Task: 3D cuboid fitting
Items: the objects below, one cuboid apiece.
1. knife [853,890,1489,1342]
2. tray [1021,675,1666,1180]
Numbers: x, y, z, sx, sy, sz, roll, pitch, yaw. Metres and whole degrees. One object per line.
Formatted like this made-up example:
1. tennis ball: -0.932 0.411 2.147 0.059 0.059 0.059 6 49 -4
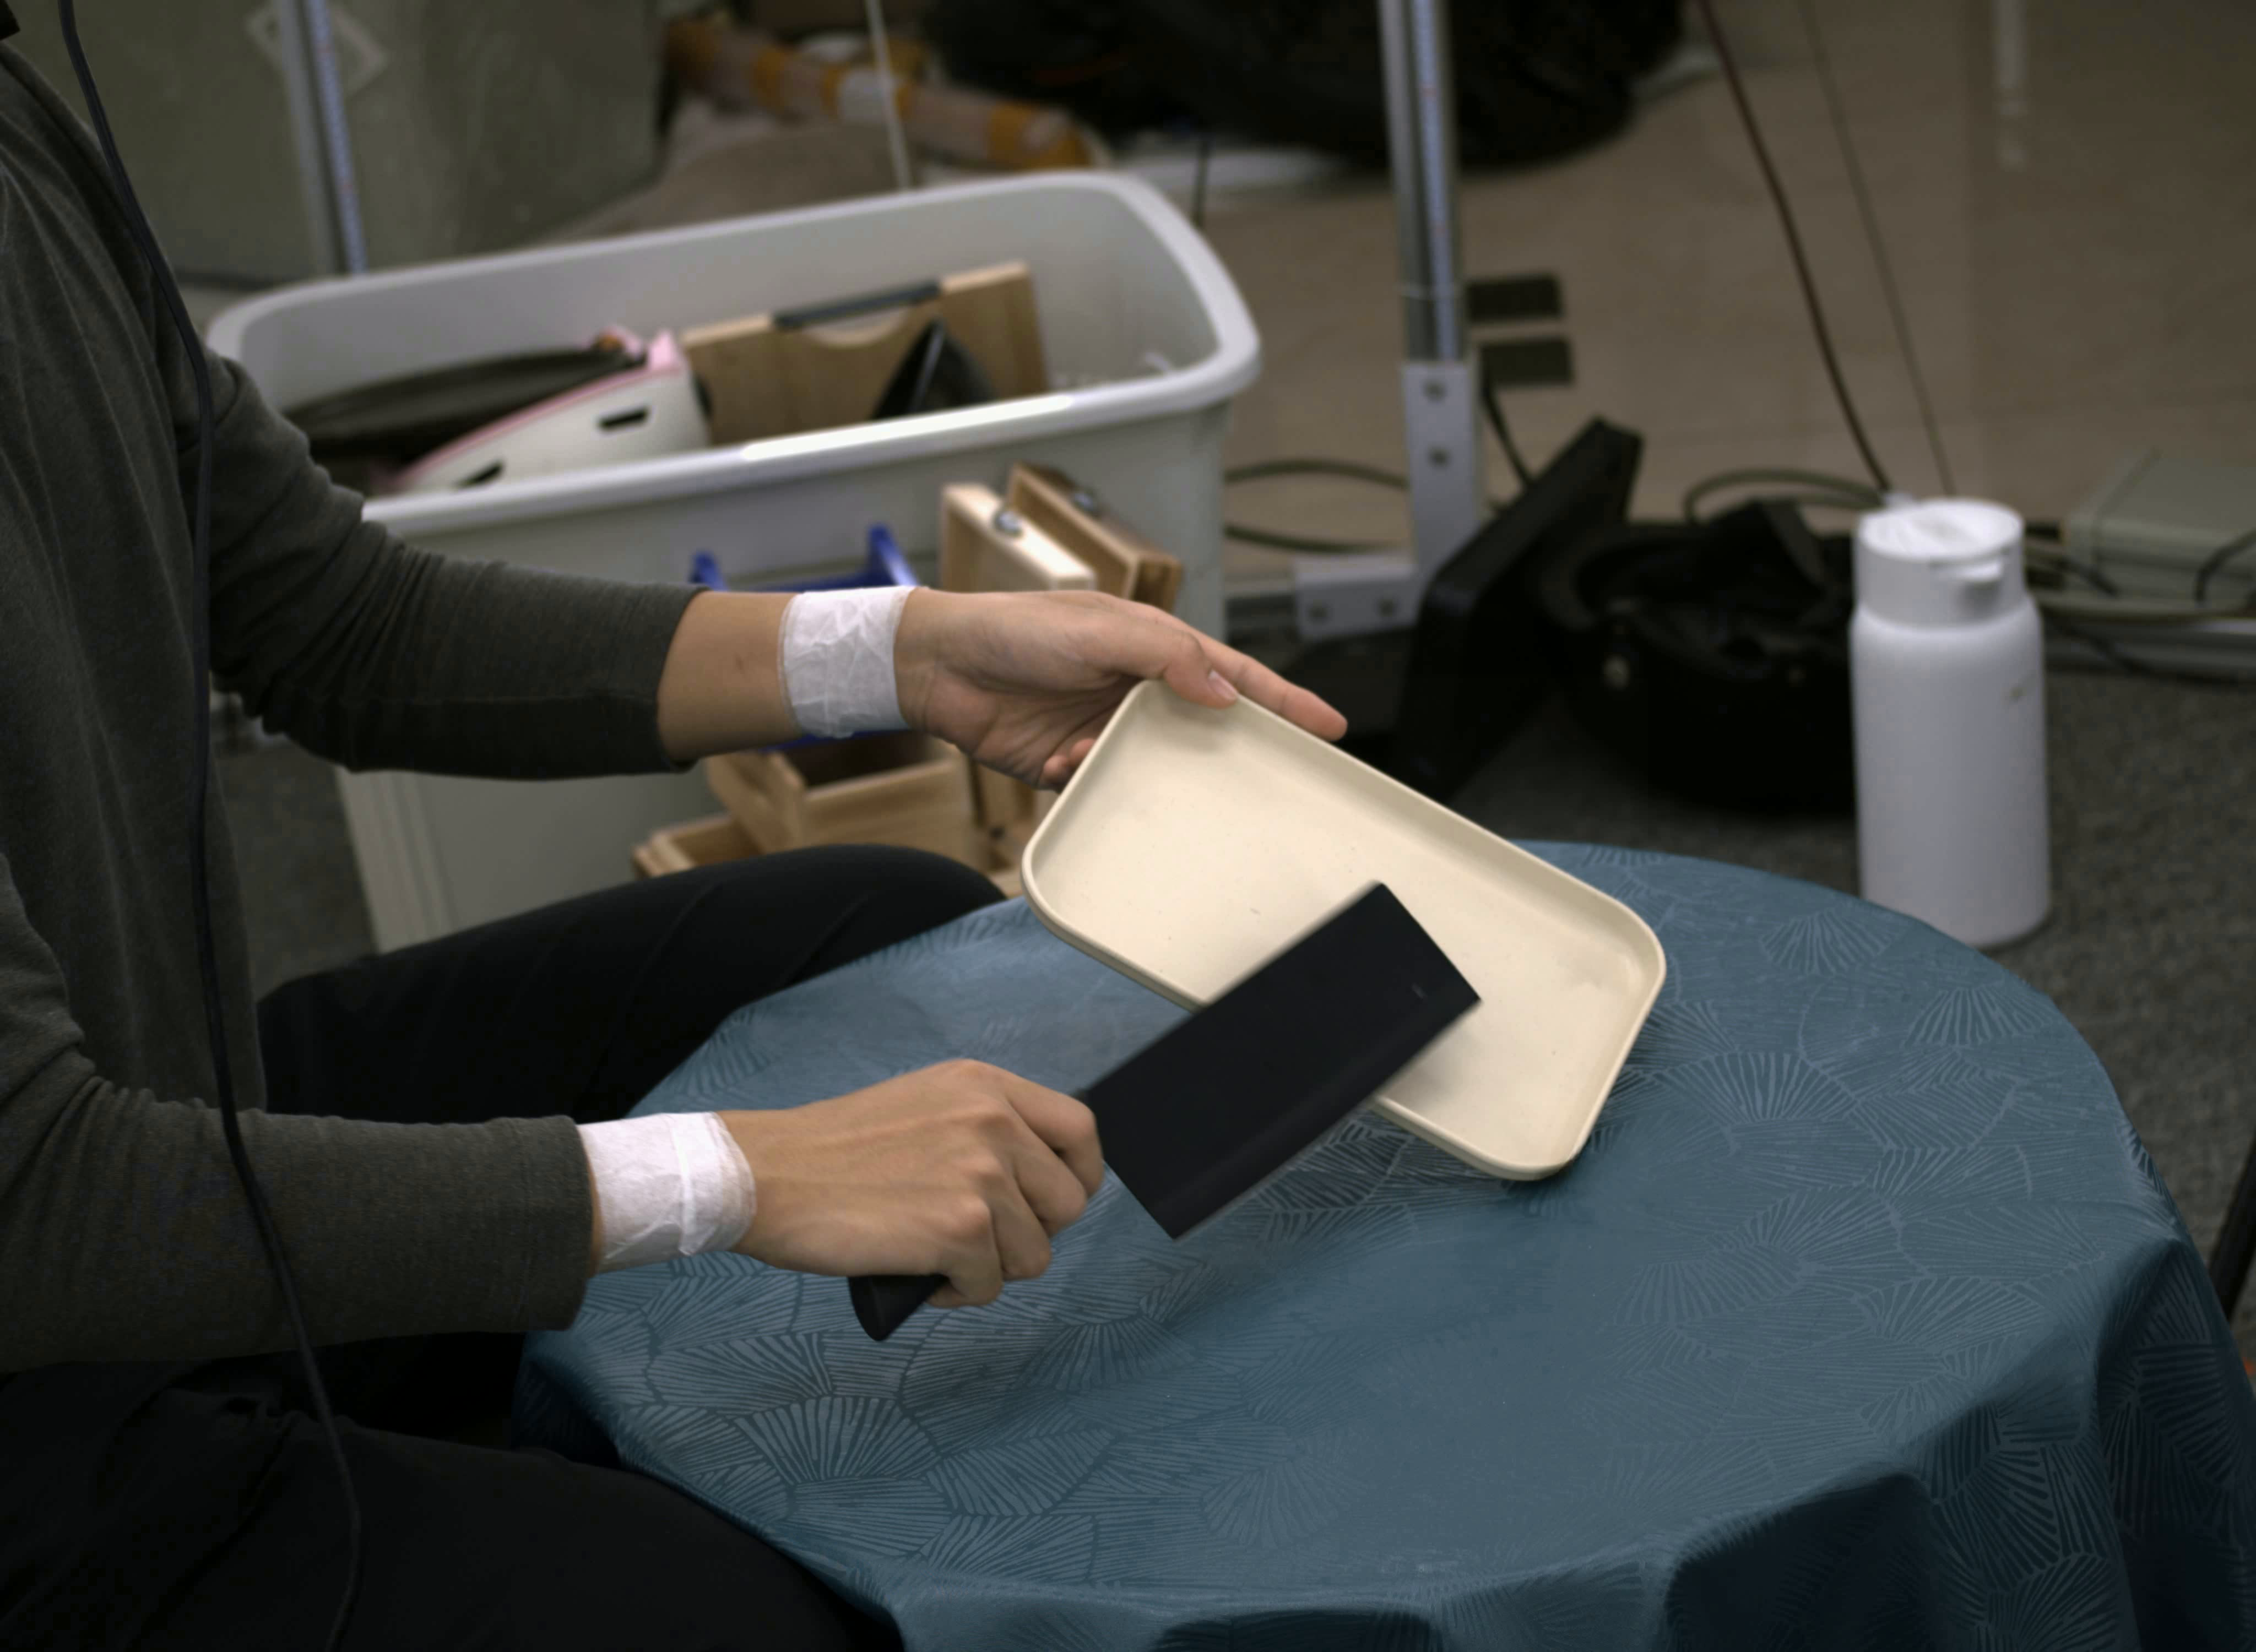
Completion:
1. knife: 0.016 0.111 2.061 0.300 0.021 0.080 -28 77 -34
2. tray: 0.083 0.039 2.177 0.239 0.018 0.168 29 41 3
